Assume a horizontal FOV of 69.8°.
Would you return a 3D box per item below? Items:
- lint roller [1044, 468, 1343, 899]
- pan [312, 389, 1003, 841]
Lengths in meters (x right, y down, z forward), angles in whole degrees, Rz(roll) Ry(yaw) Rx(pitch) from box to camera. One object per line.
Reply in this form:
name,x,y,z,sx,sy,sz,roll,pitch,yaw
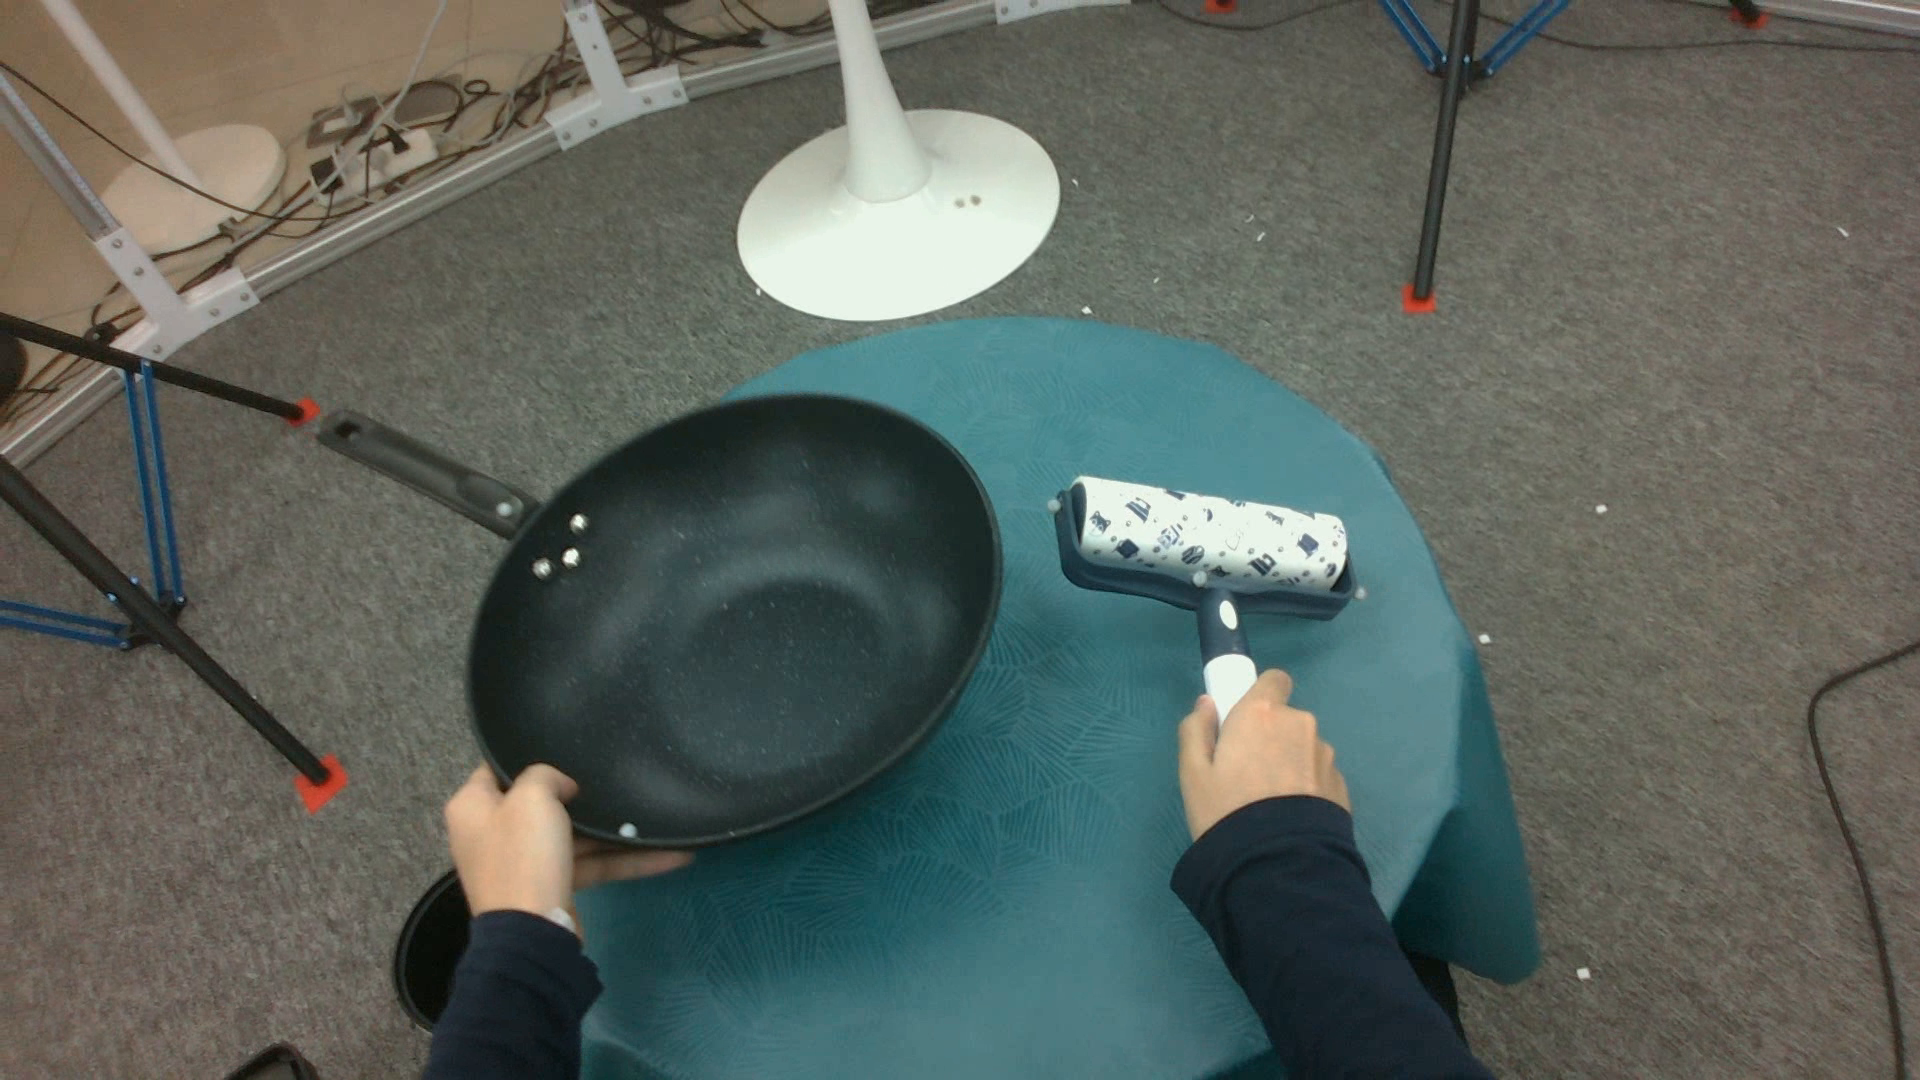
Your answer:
lint roller,0.142,0.069,0.737,0.176,0.050,0.248,8,49,-15
pan,-0.197,0.019,0.820,0.476,0.111,0.312,17,55,25
